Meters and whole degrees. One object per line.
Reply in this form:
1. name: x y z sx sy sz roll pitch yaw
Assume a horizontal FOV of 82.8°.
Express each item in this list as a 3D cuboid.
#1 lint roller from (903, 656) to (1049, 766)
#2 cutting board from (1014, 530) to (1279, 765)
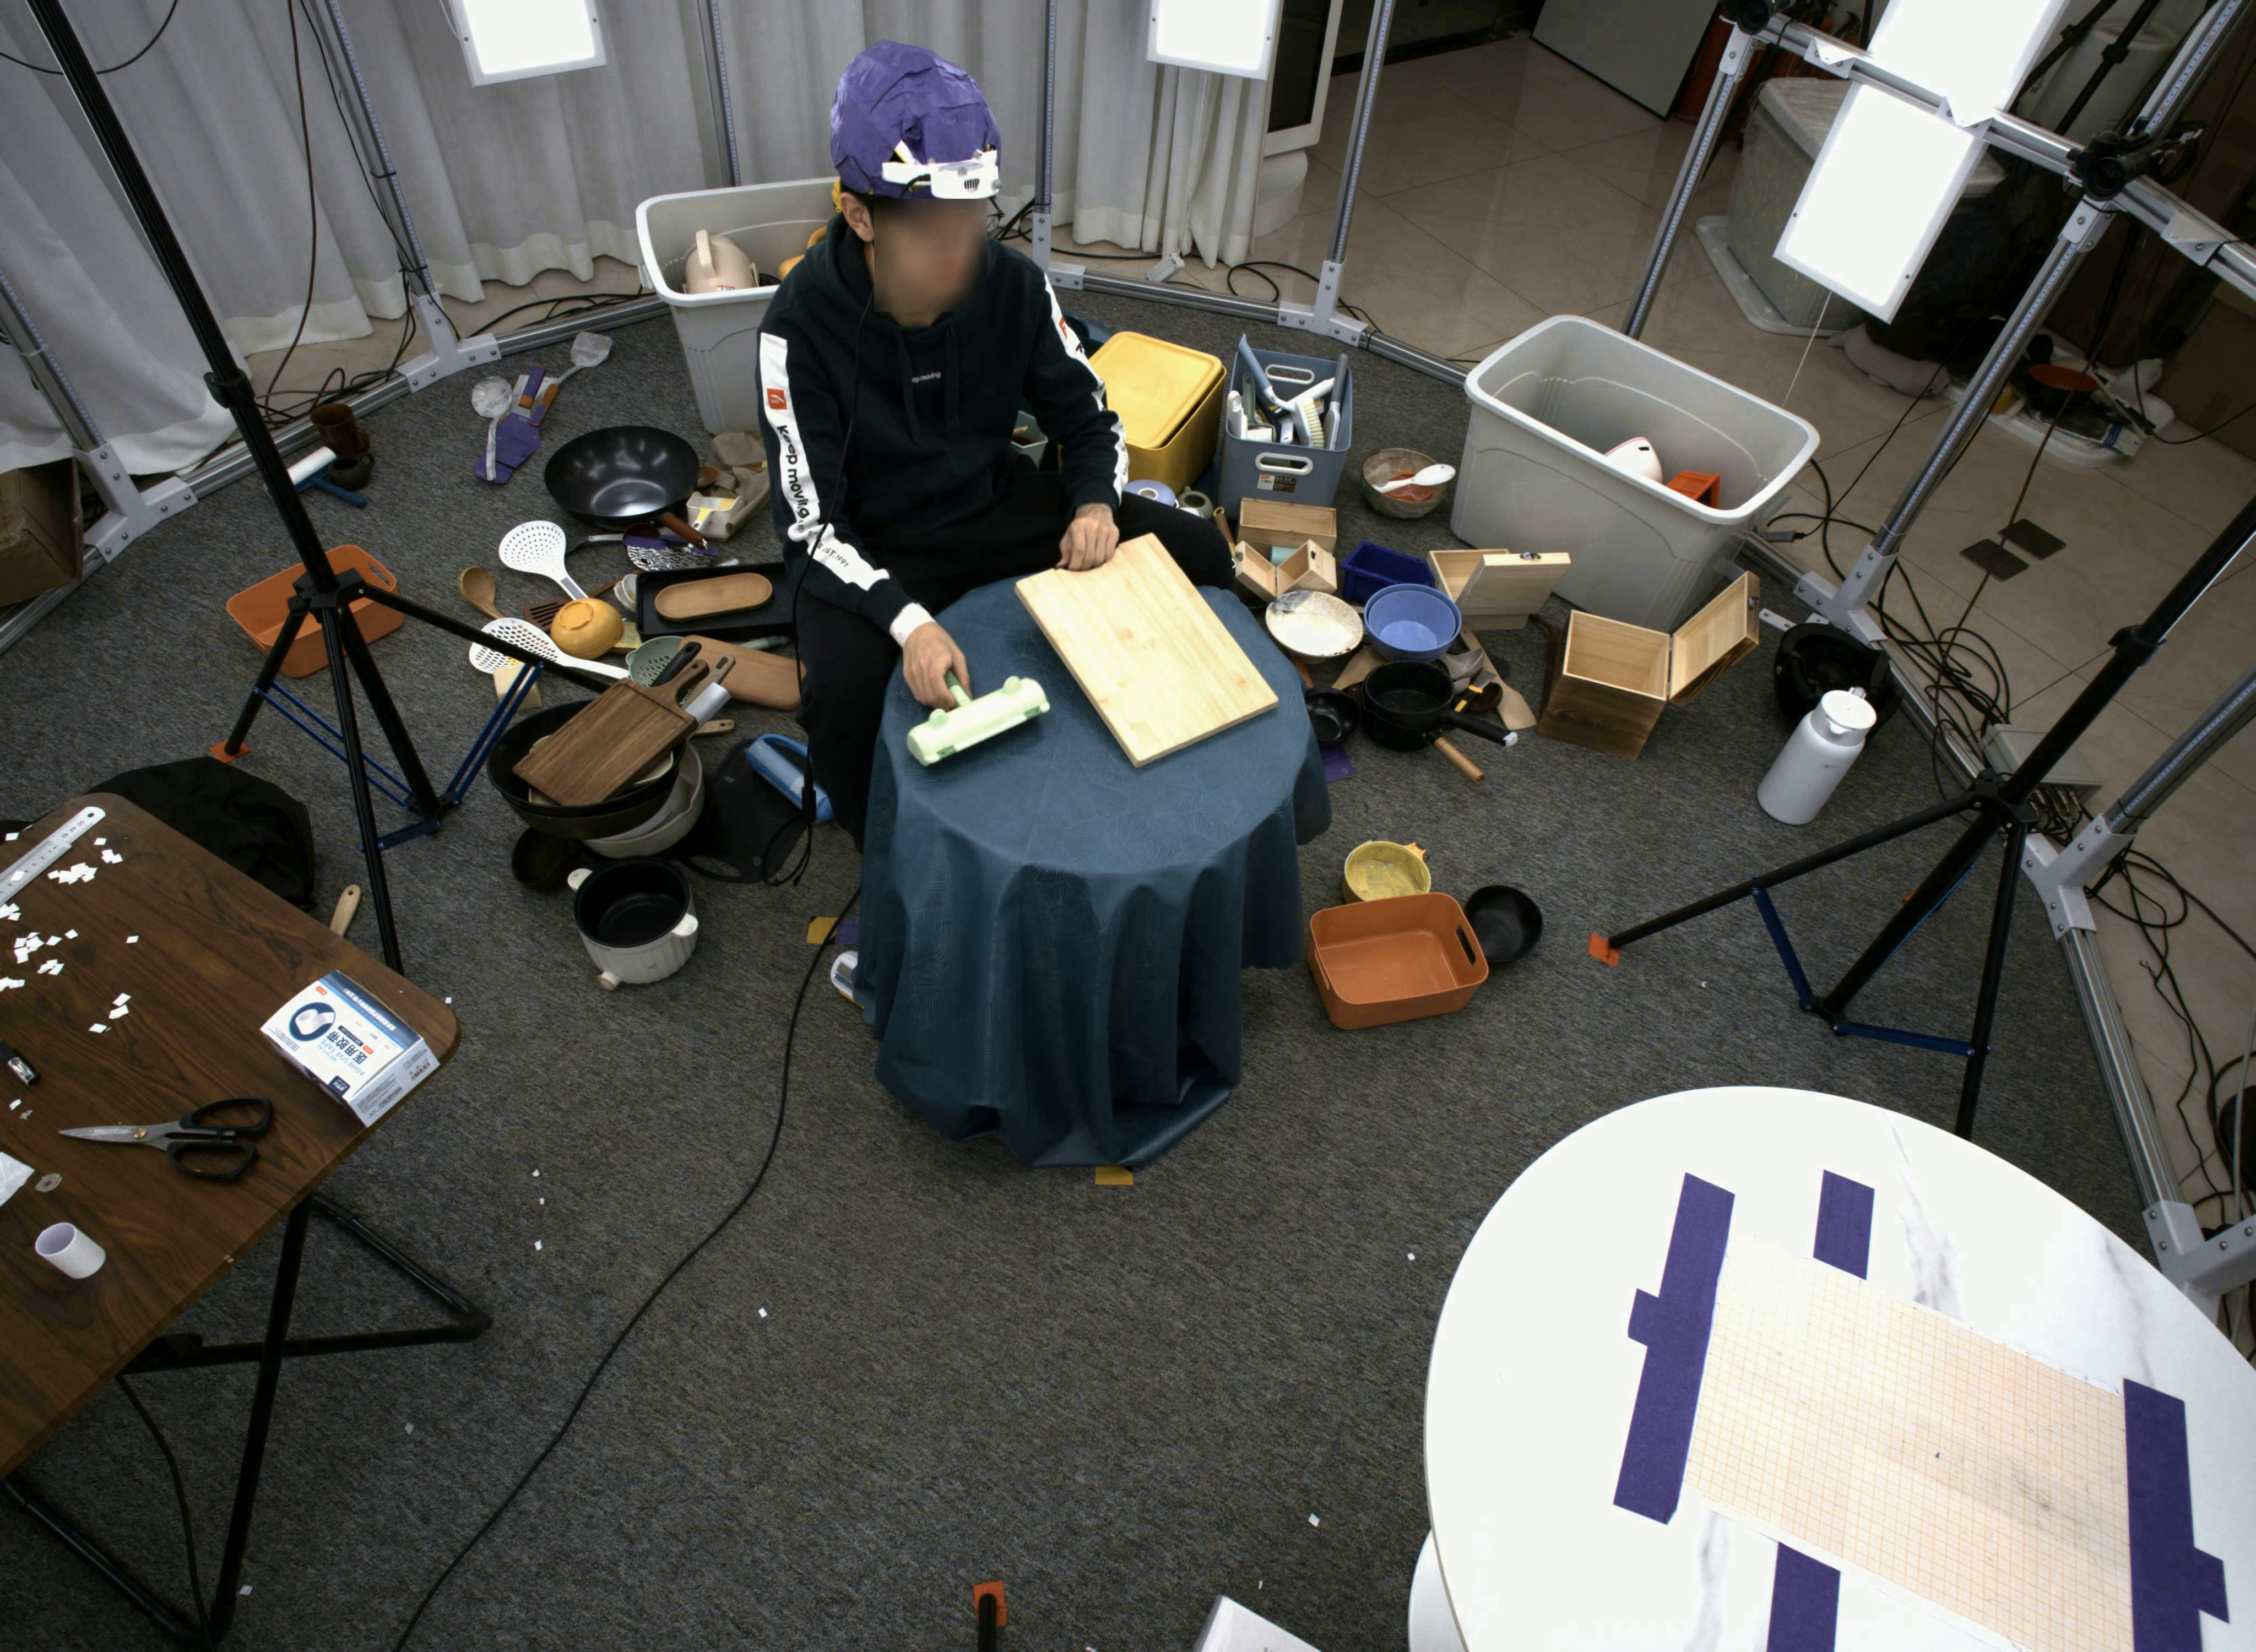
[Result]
1. lint roller: -0.234 -0.184 1.754 0.199 0.080 0.186 -25 63 -23
2. cutting board: 0.024 -0.263 1.845 0.252 0.023 0.354 -25 66 -23
